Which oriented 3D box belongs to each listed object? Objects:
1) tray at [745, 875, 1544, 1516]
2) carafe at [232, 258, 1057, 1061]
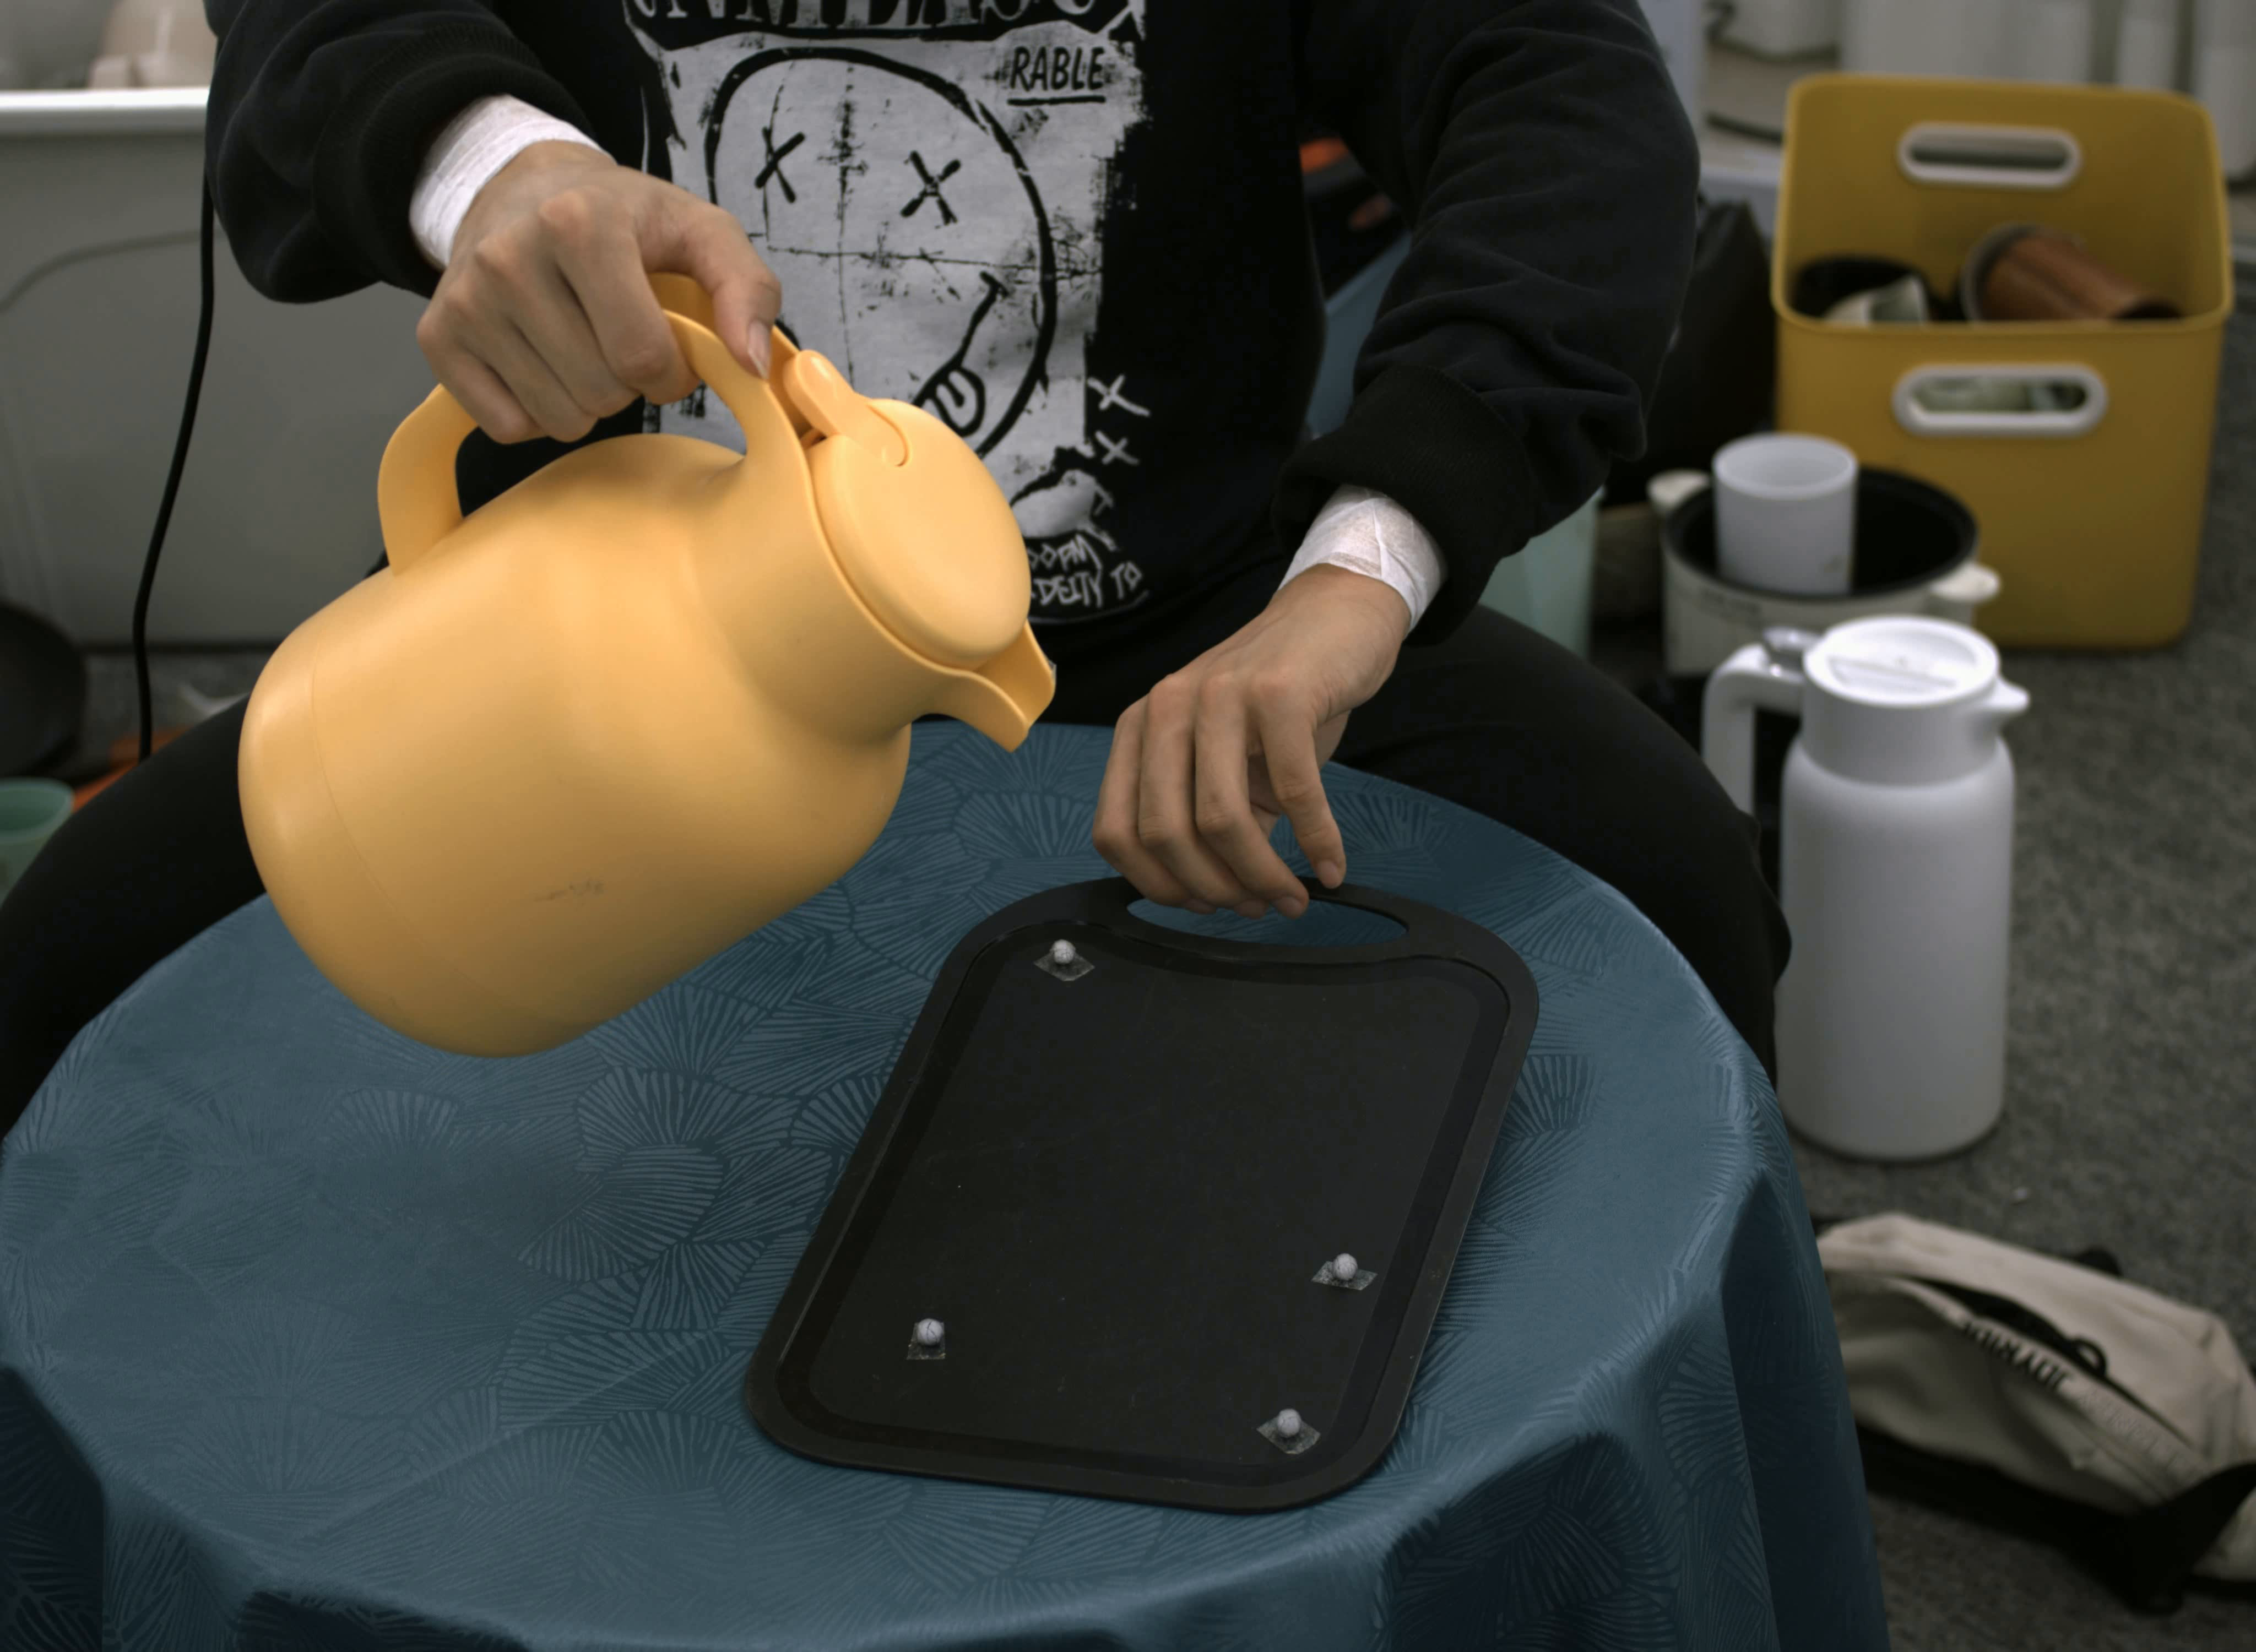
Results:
[{"bbox_3d":[0.012,0.109,1.835,0.209,0.009,0.332,6,35,15],"label":"tray"},{"bbox_3d":[-0.160,-0.058,1.776,0.257,0.202,0.166,-30,11,27],"label":"carafe"}]
